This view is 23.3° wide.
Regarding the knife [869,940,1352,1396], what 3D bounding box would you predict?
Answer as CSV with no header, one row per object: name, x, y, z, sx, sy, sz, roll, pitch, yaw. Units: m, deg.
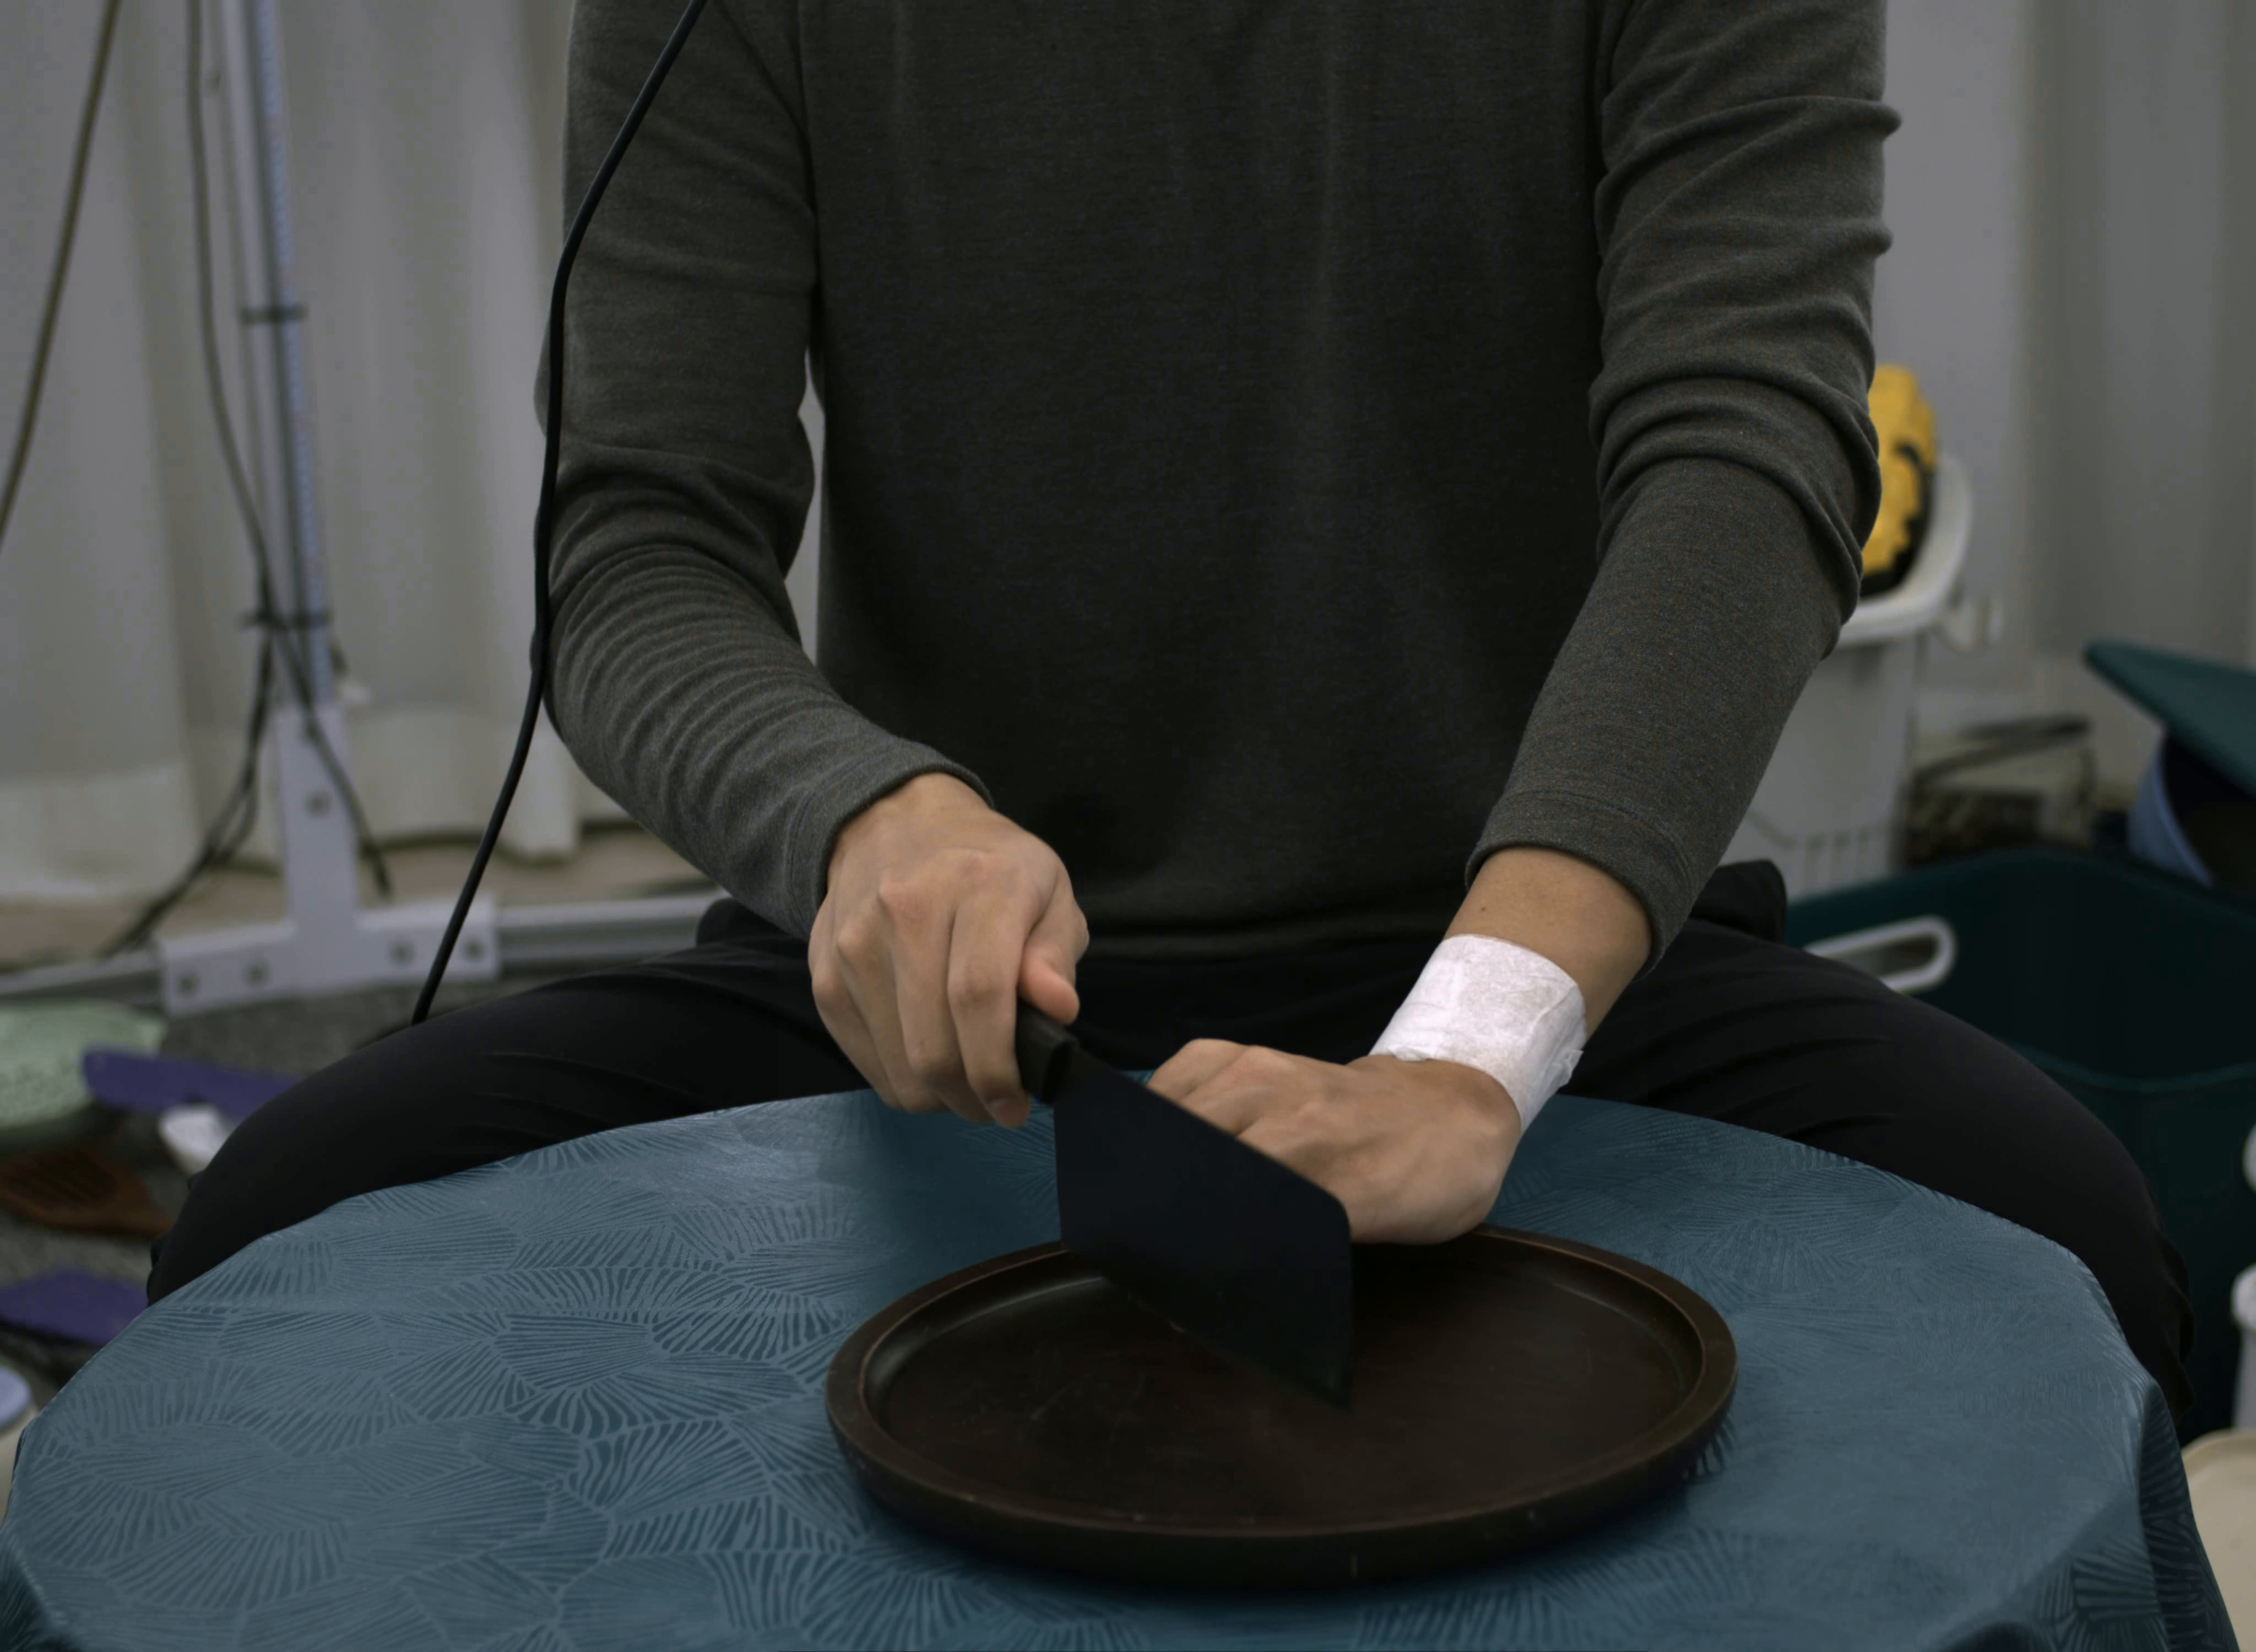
knife,-0.007,0.090,1.553,0.021,0.080,0.305,-7,19,-25

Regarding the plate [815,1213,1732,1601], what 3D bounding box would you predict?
plate,0.040,0.157,1.507,0.254,0.029,0.256,-4,15,1
